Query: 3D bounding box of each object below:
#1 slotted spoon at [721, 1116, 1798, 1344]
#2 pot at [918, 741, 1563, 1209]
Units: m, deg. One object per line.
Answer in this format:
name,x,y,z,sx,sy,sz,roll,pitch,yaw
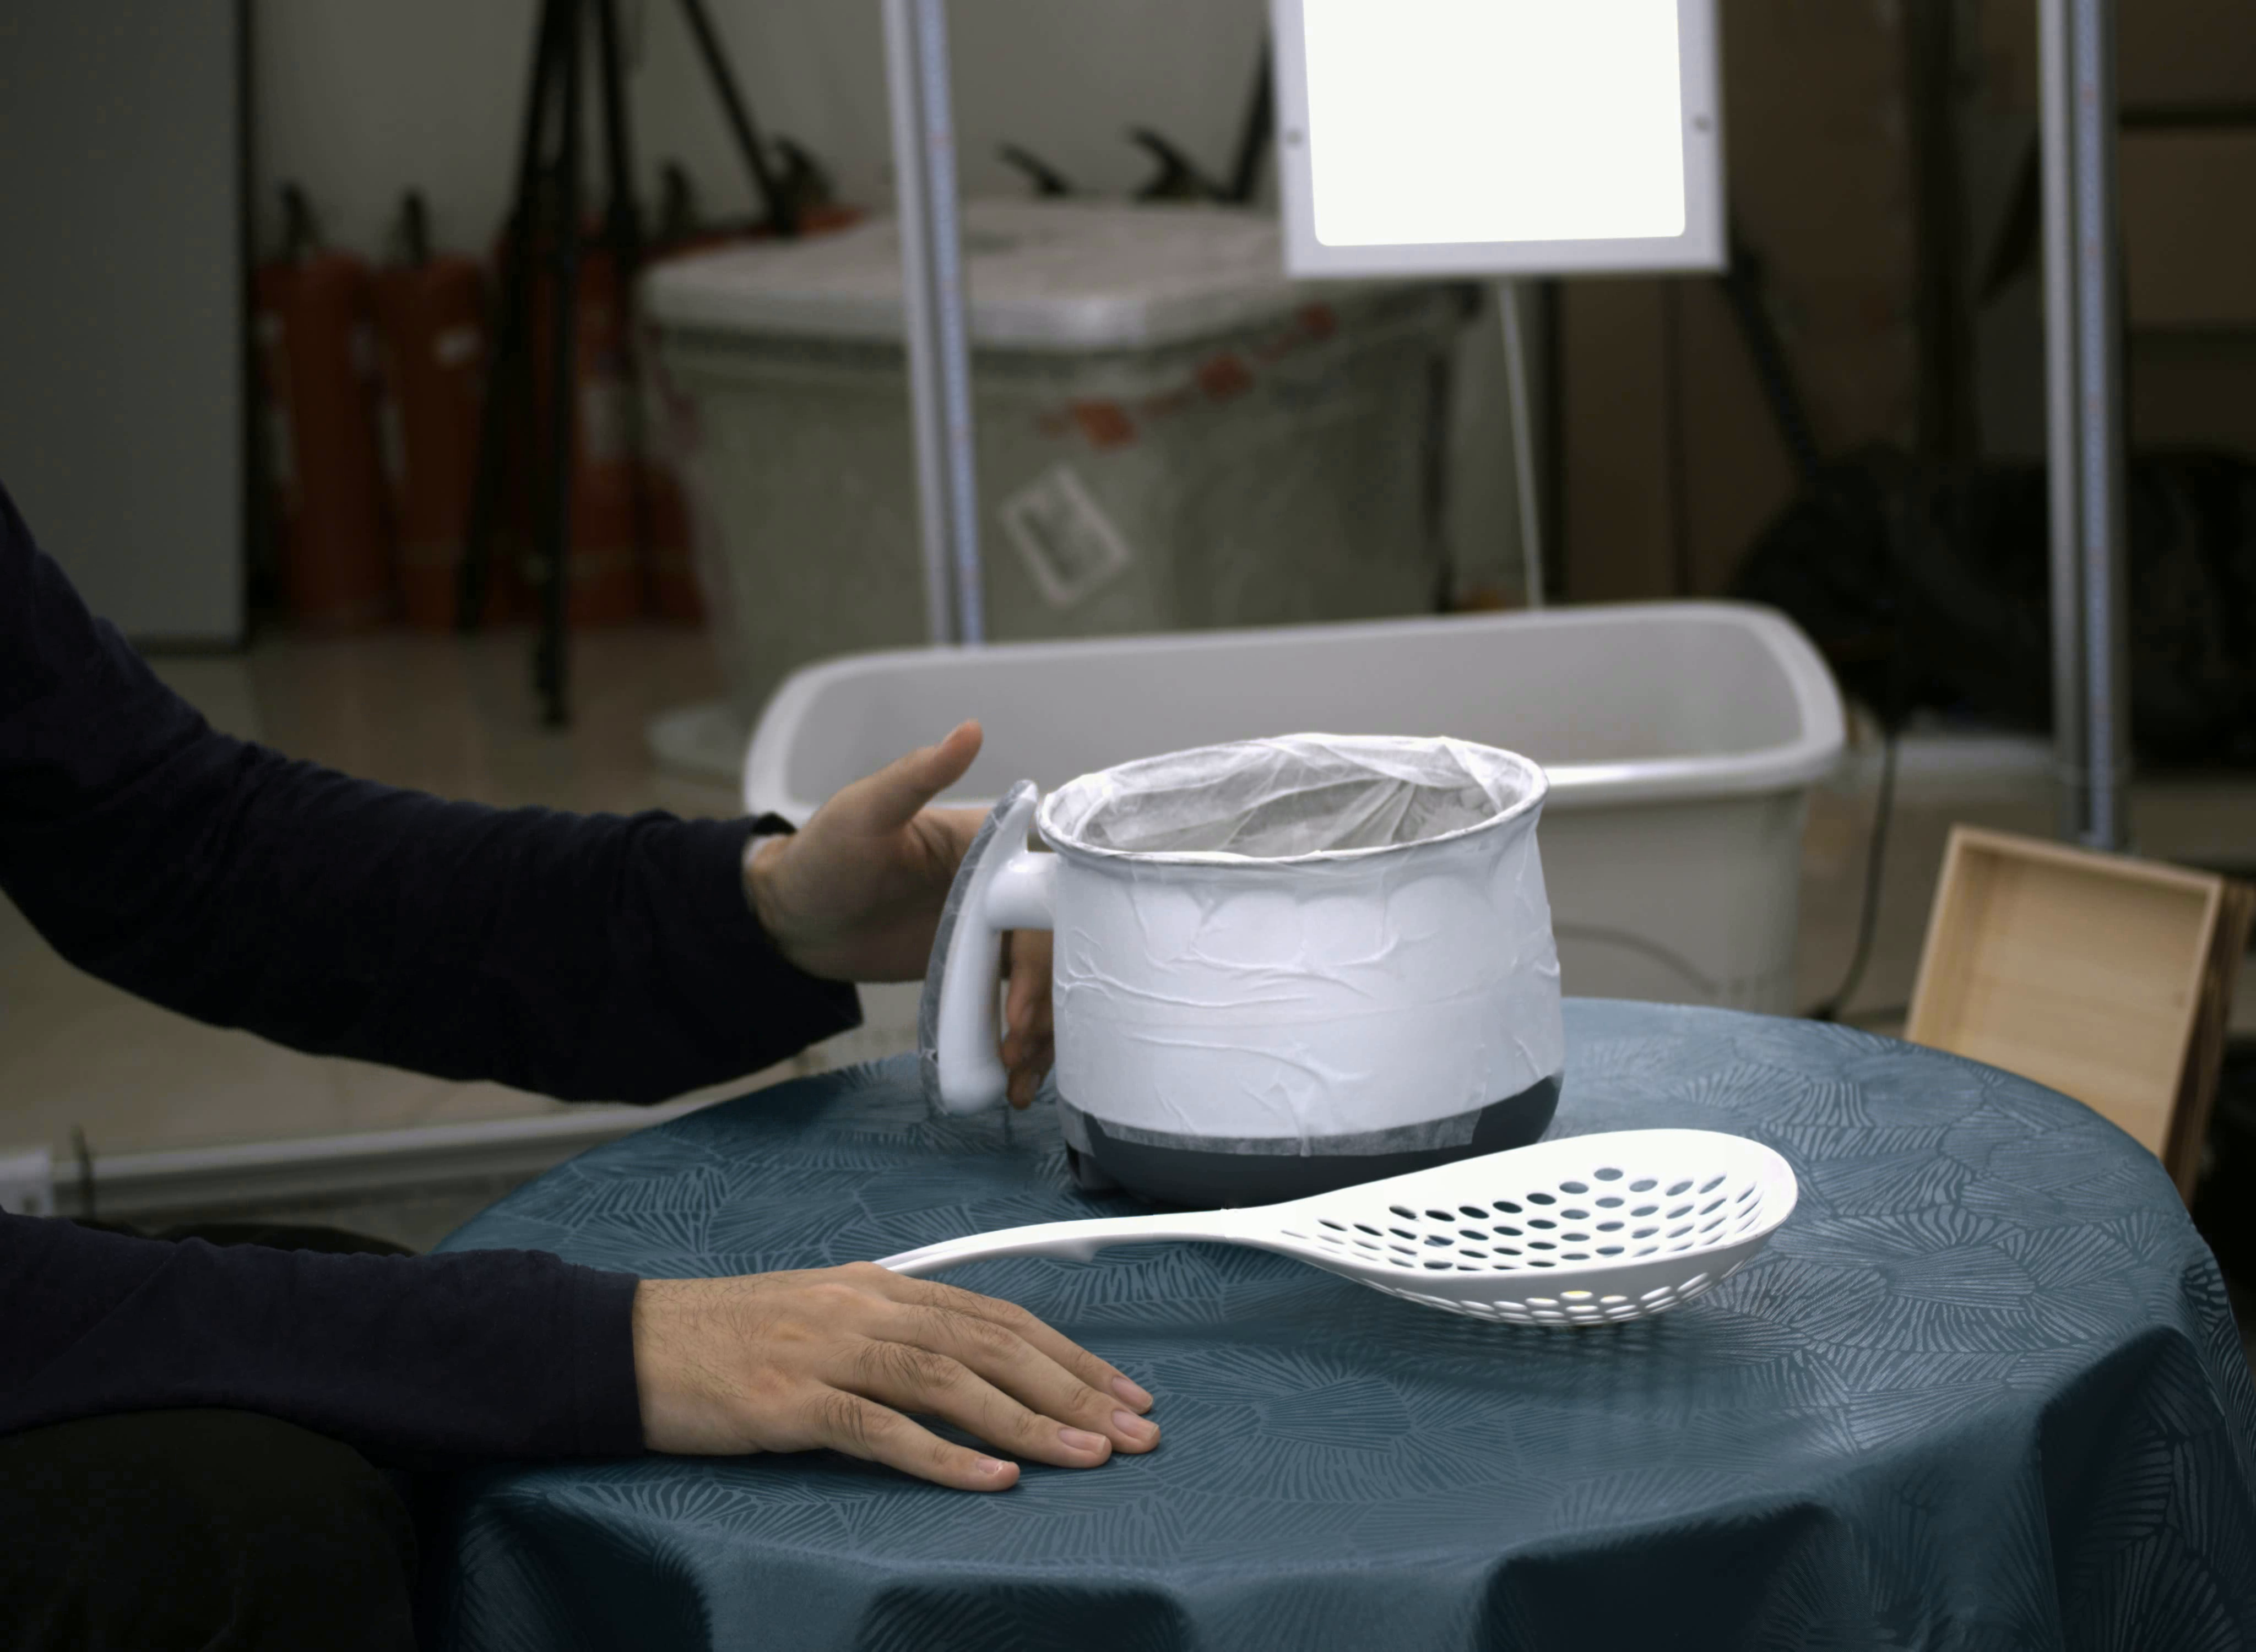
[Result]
slotted spoon,0.040,0.137,1.753,0.350,0.050,0.135,-1,15,11
pot,0.036,0.051,1.913,0.237,0.137,0.175,1,13,21
